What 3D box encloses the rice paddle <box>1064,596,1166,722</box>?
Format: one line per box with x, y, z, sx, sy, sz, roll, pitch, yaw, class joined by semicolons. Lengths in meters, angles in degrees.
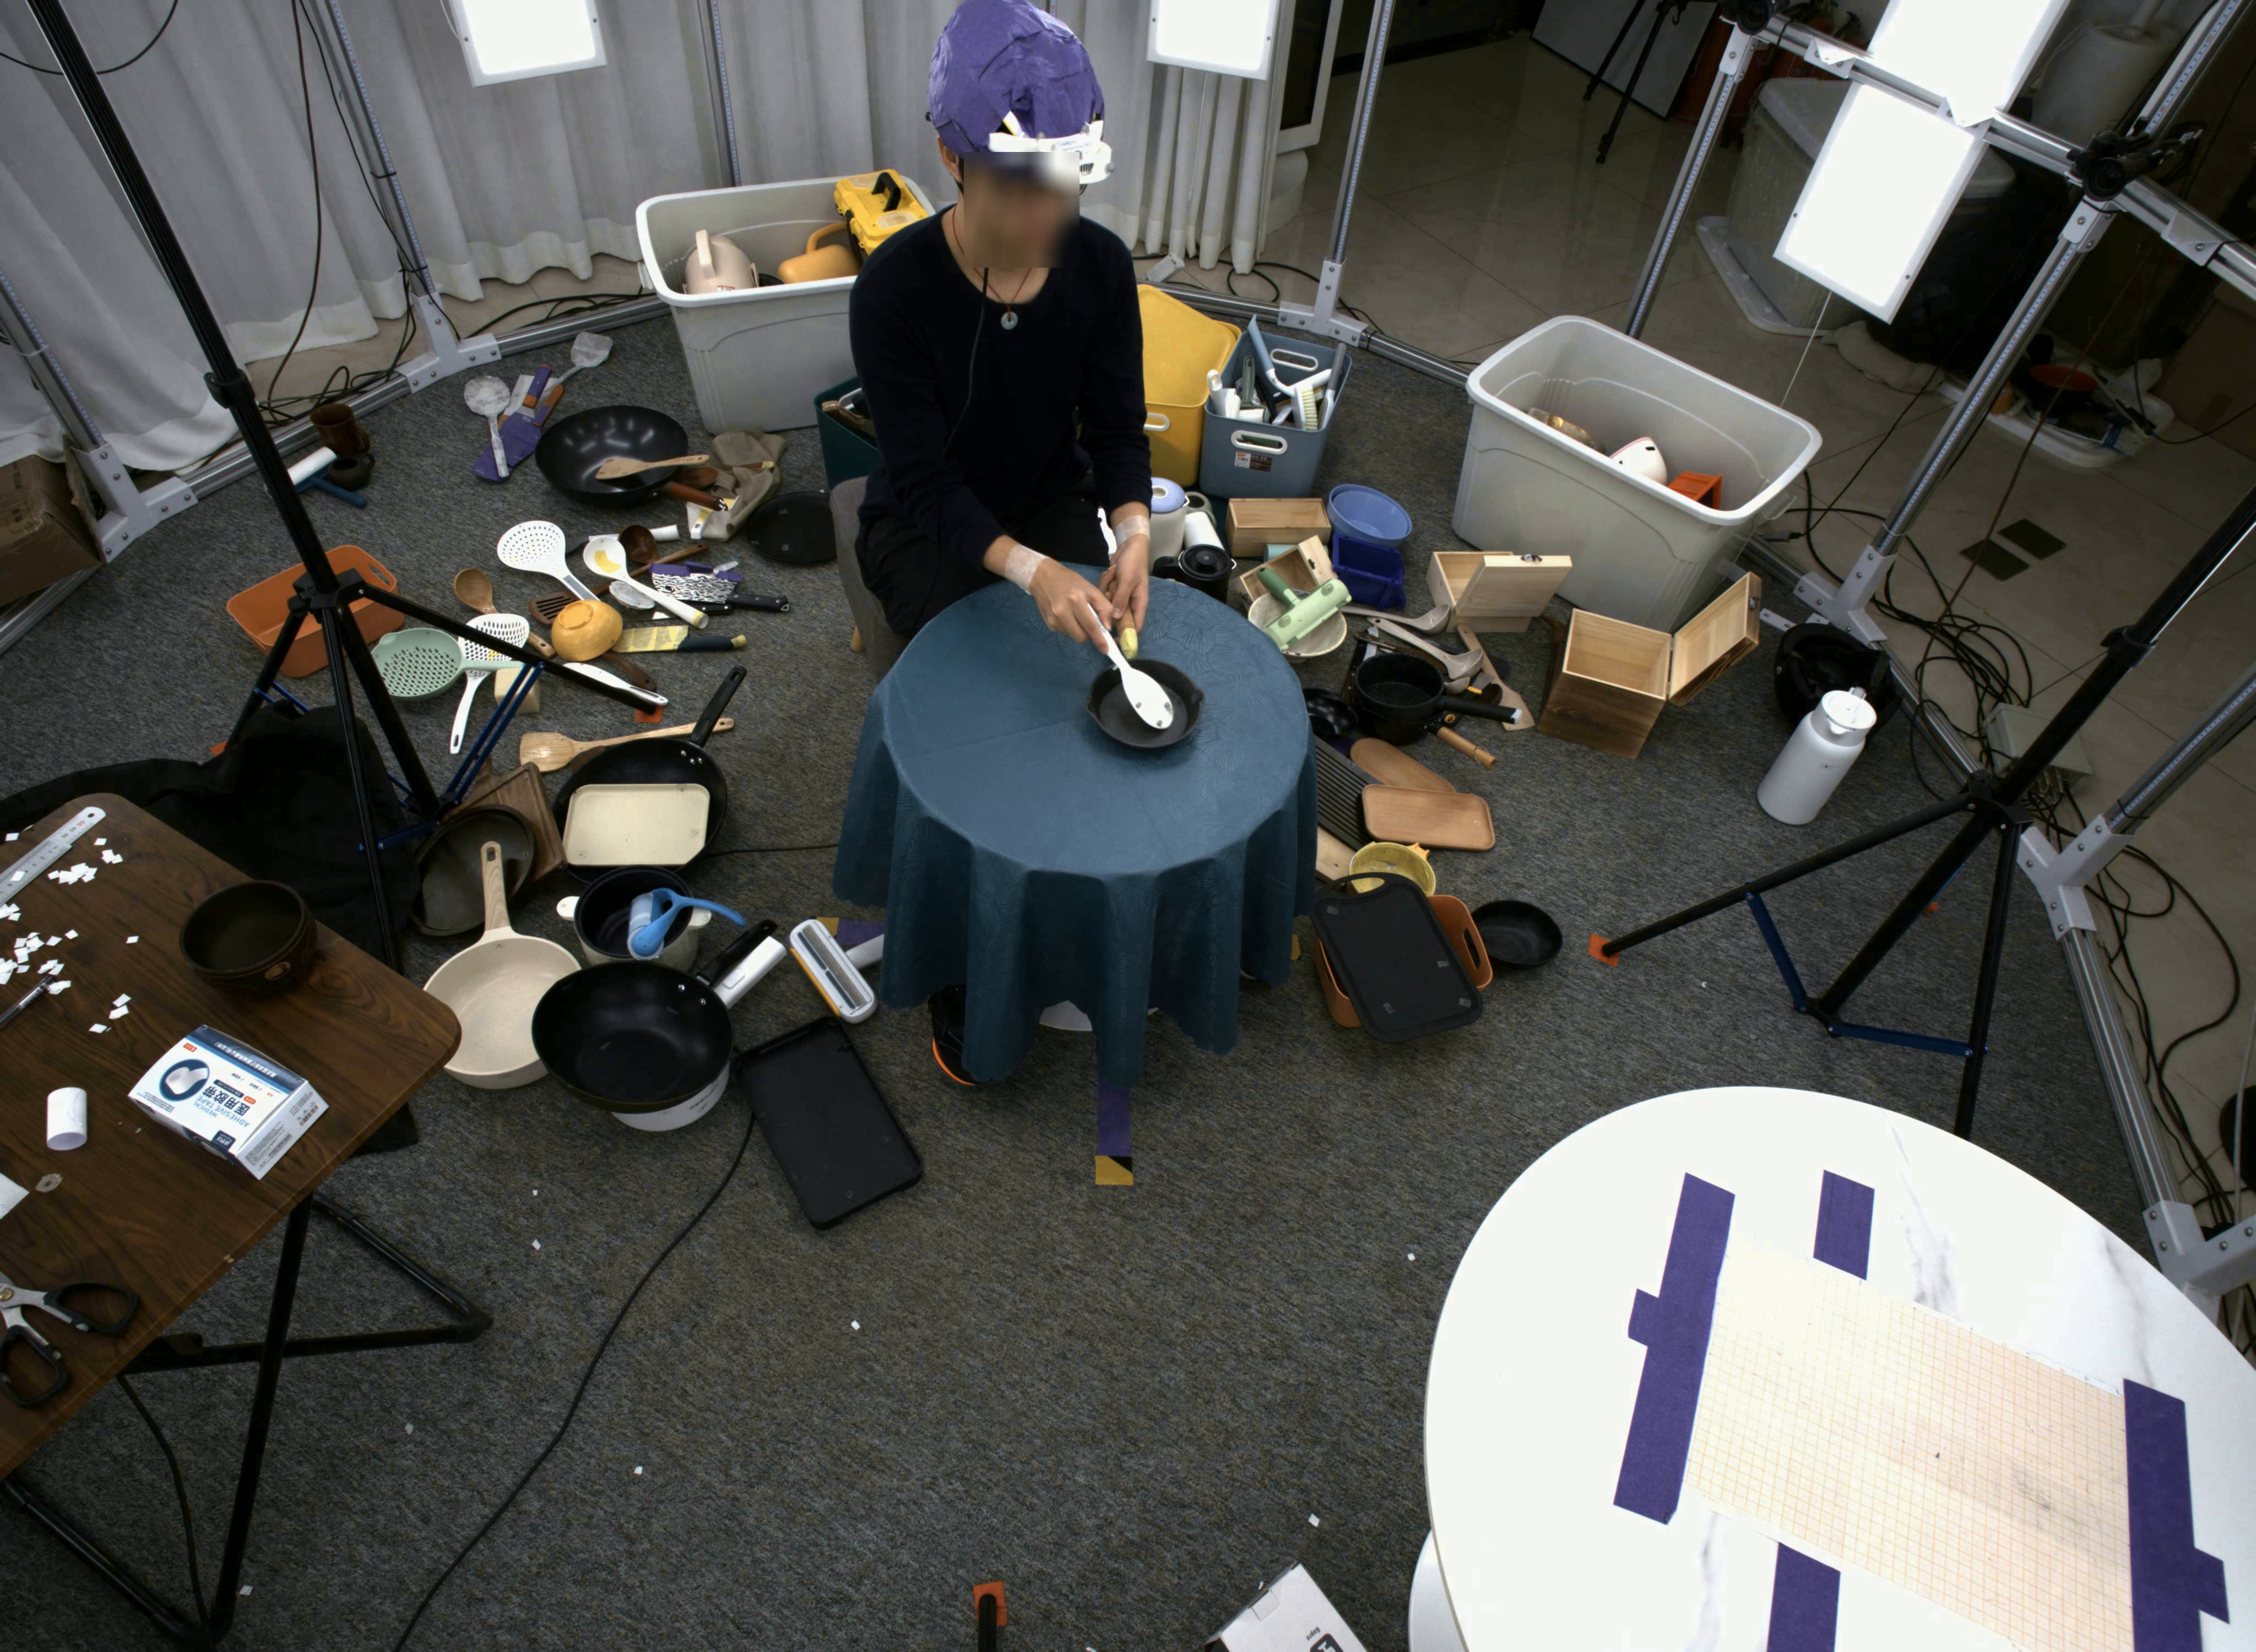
-0.014;-0.230;1.780;0.204;0.029;0.070;52;48;-5;rice paddle

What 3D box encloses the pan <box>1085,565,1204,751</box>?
0.009;-0.239;1.825;0.169;0.048;0.332;-5;57;-9;pan
